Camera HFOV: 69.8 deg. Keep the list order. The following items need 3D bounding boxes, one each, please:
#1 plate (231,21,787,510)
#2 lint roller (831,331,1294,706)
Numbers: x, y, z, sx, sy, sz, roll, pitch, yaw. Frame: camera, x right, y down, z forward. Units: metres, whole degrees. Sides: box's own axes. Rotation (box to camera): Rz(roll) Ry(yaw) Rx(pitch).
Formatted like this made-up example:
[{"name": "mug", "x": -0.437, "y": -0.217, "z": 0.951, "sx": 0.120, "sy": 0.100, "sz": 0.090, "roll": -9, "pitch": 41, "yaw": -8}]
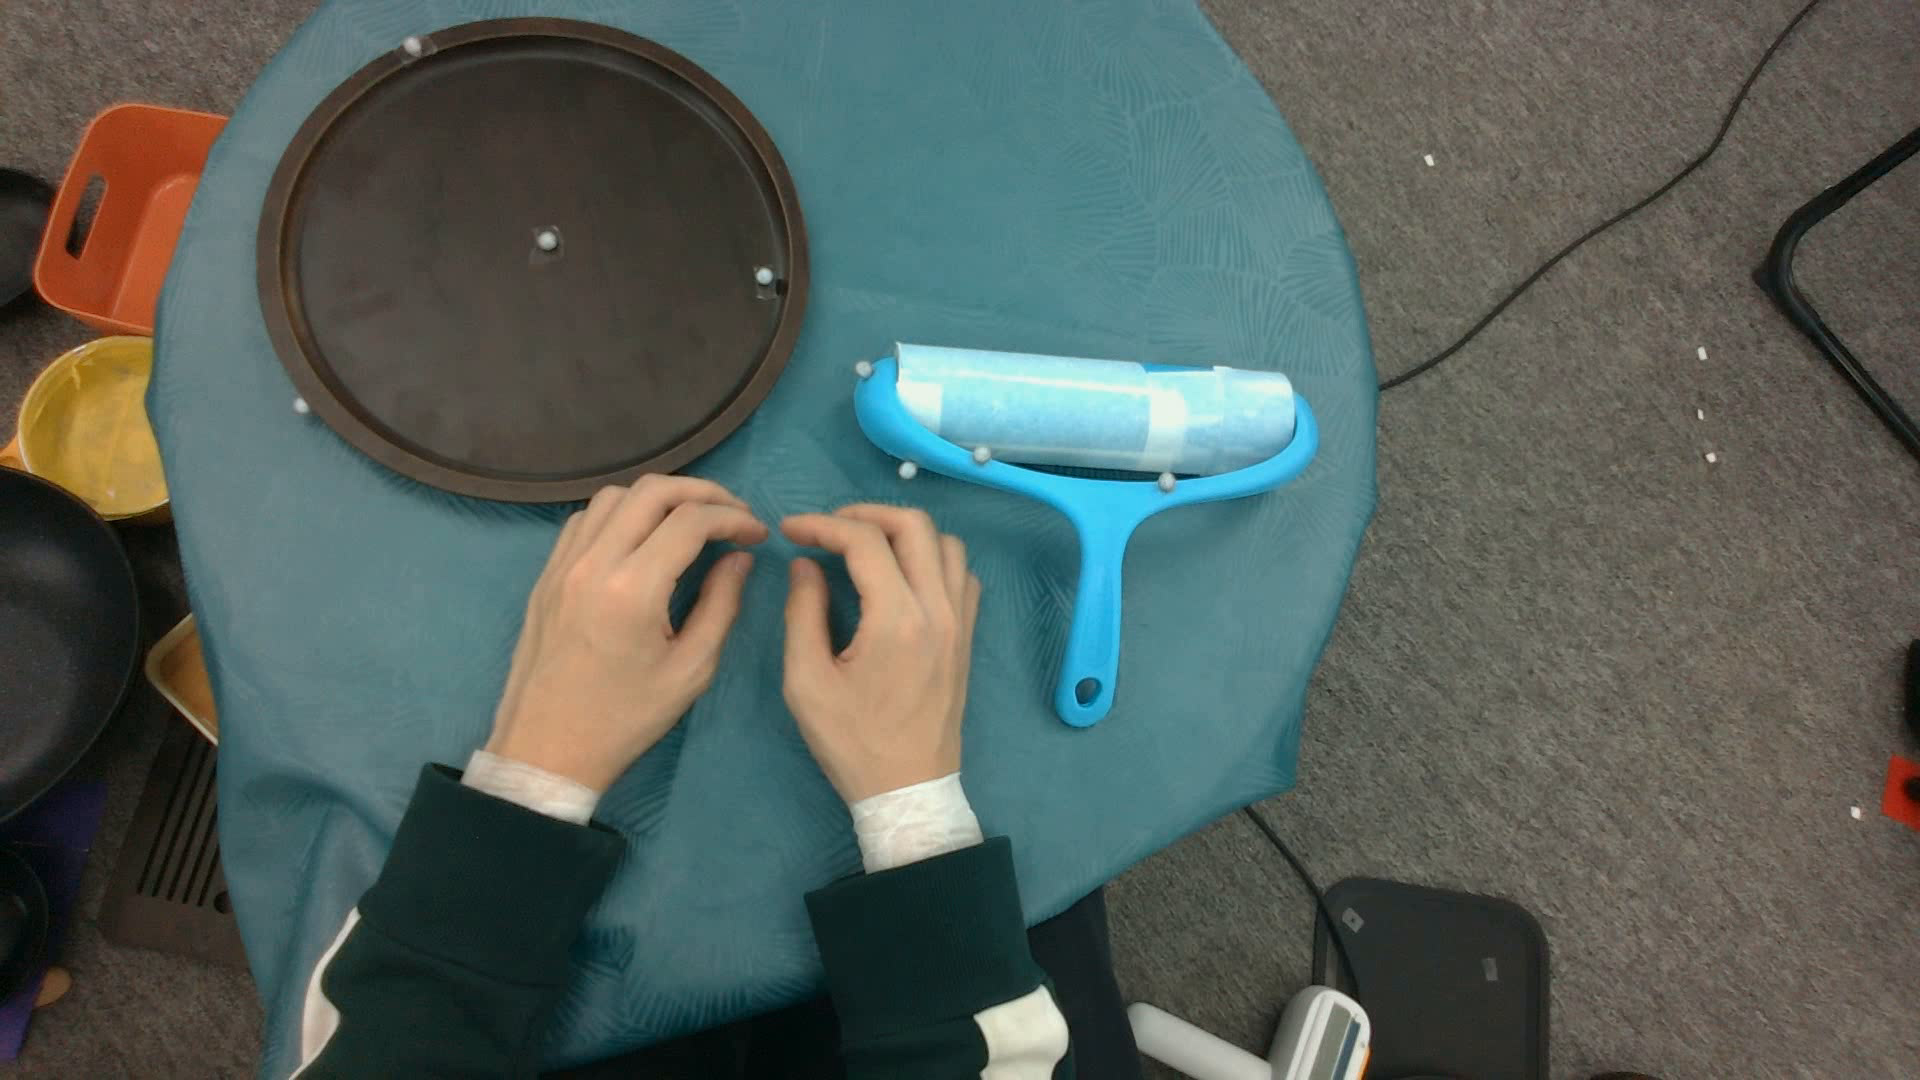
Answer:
[{"name": "plate", "x": -0.212, "y": -0.135, "z": 0.663, "sx": 0.255, "sy": 0.029, "sz": 0.255, "roll": 2, "pitch": 73, "yaw": -8}, {"name": "lint roller", "x": 0.056, "y": -0.015, "z": 0.657, "sx": 0.229, "sy": 0.067, "sz": 0.180, "roll": -1, "pitch": 74, "yaw": -11}]
